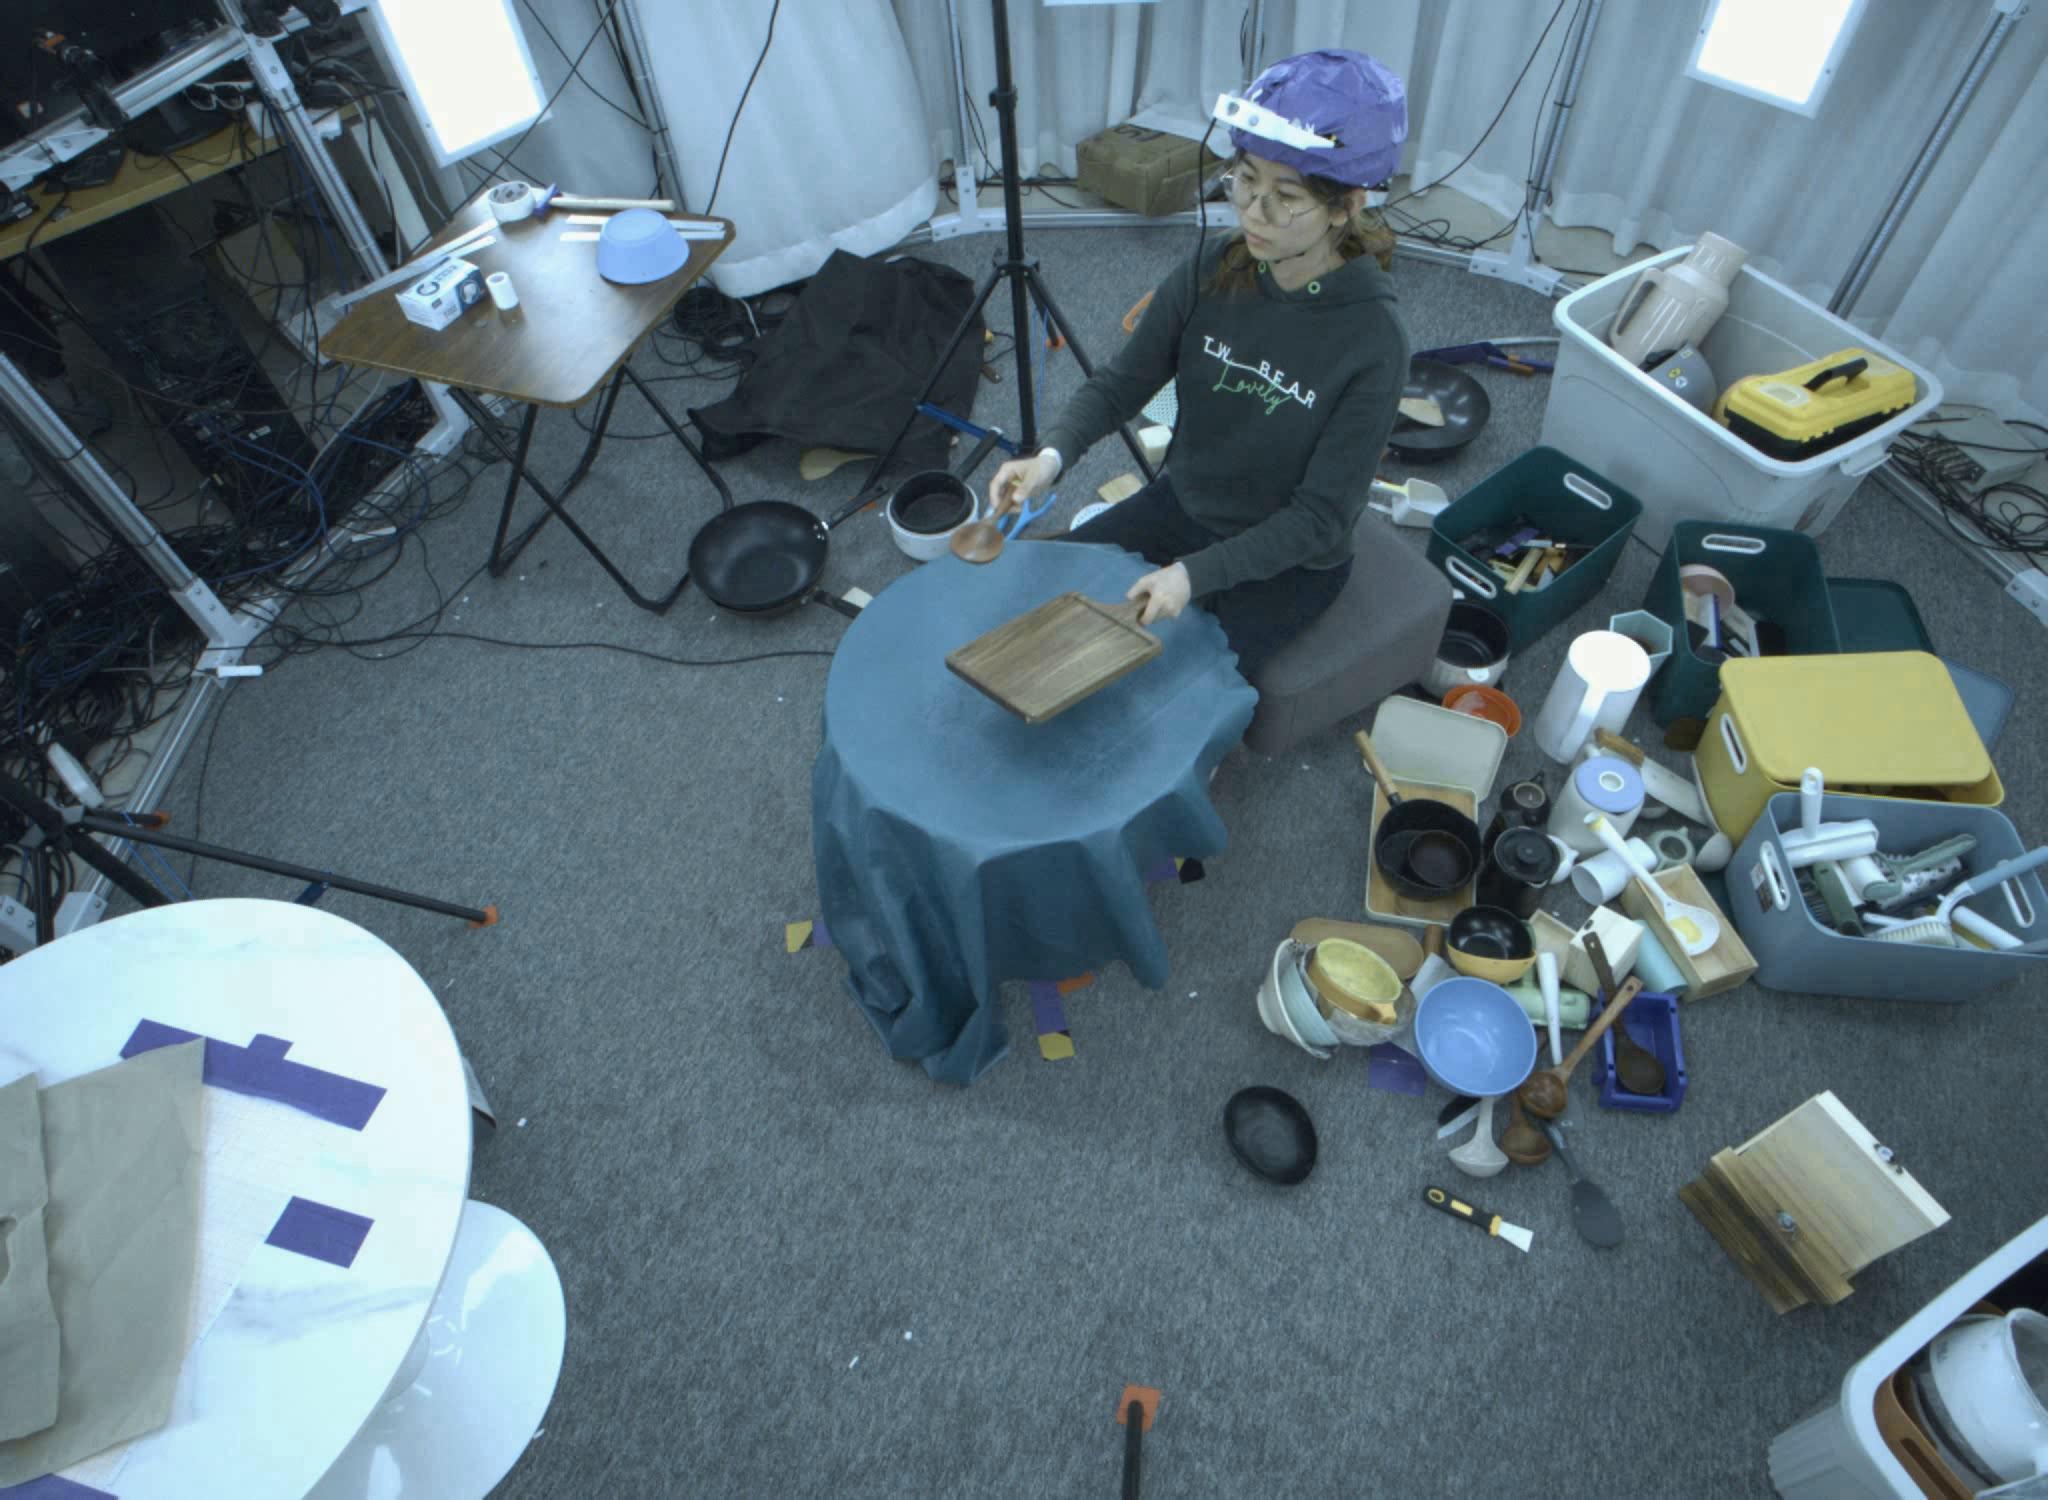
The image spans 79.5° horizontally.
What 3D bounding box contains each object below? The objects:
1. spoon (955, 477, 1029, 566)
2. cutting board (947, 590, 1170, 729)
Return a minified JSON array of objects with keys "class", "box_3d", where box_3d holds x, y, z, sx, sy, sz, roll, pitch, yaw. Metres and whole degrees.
[{"class":"spoon","box_3d":[-0.037,-0.327,1.751,0.075,0.017,0.215,21,50,5]},{"class":"cutting board","box_3d":[0.083,-0.152,1.766,0.356,0.023,0.196,-31,47,-30]}]
